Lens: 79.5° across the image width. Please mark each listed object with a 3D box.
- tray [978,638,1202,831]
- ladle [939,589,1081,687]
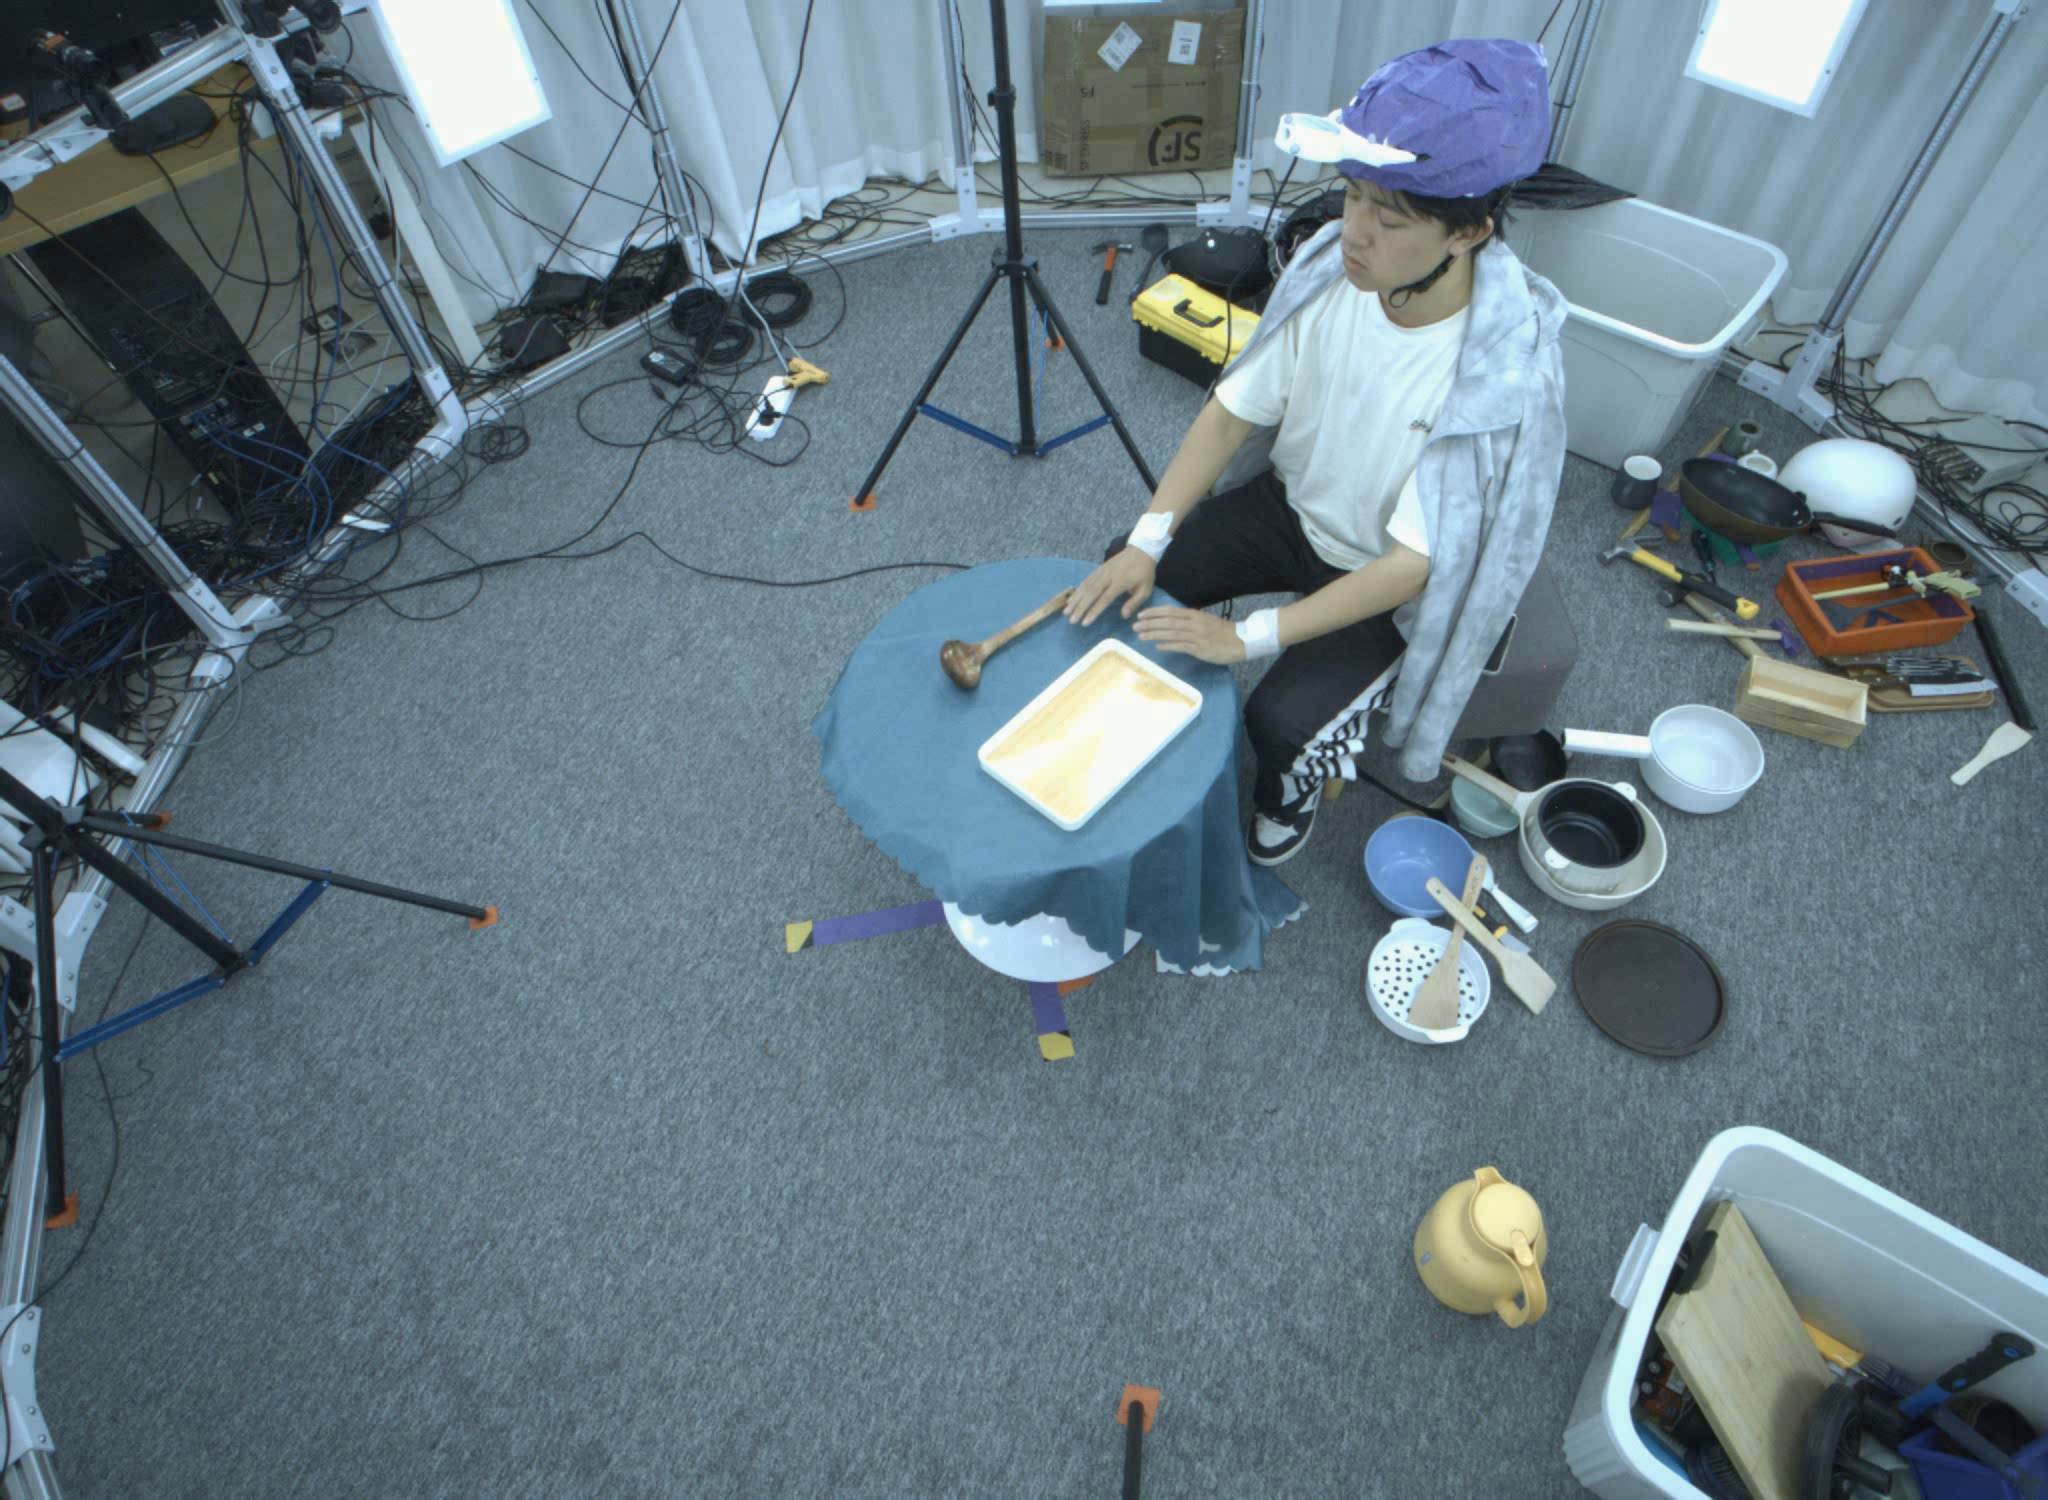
[{"bbox_3d":[0.098,-0.028,1.790,0.188,0.028,0.302,37,63,24],"label":"tray"},{"bbox_3d":[-0.013,-0.185,1.878,0.276,0.075,0.082,-32,100,-20],"label":"ladle"}]
